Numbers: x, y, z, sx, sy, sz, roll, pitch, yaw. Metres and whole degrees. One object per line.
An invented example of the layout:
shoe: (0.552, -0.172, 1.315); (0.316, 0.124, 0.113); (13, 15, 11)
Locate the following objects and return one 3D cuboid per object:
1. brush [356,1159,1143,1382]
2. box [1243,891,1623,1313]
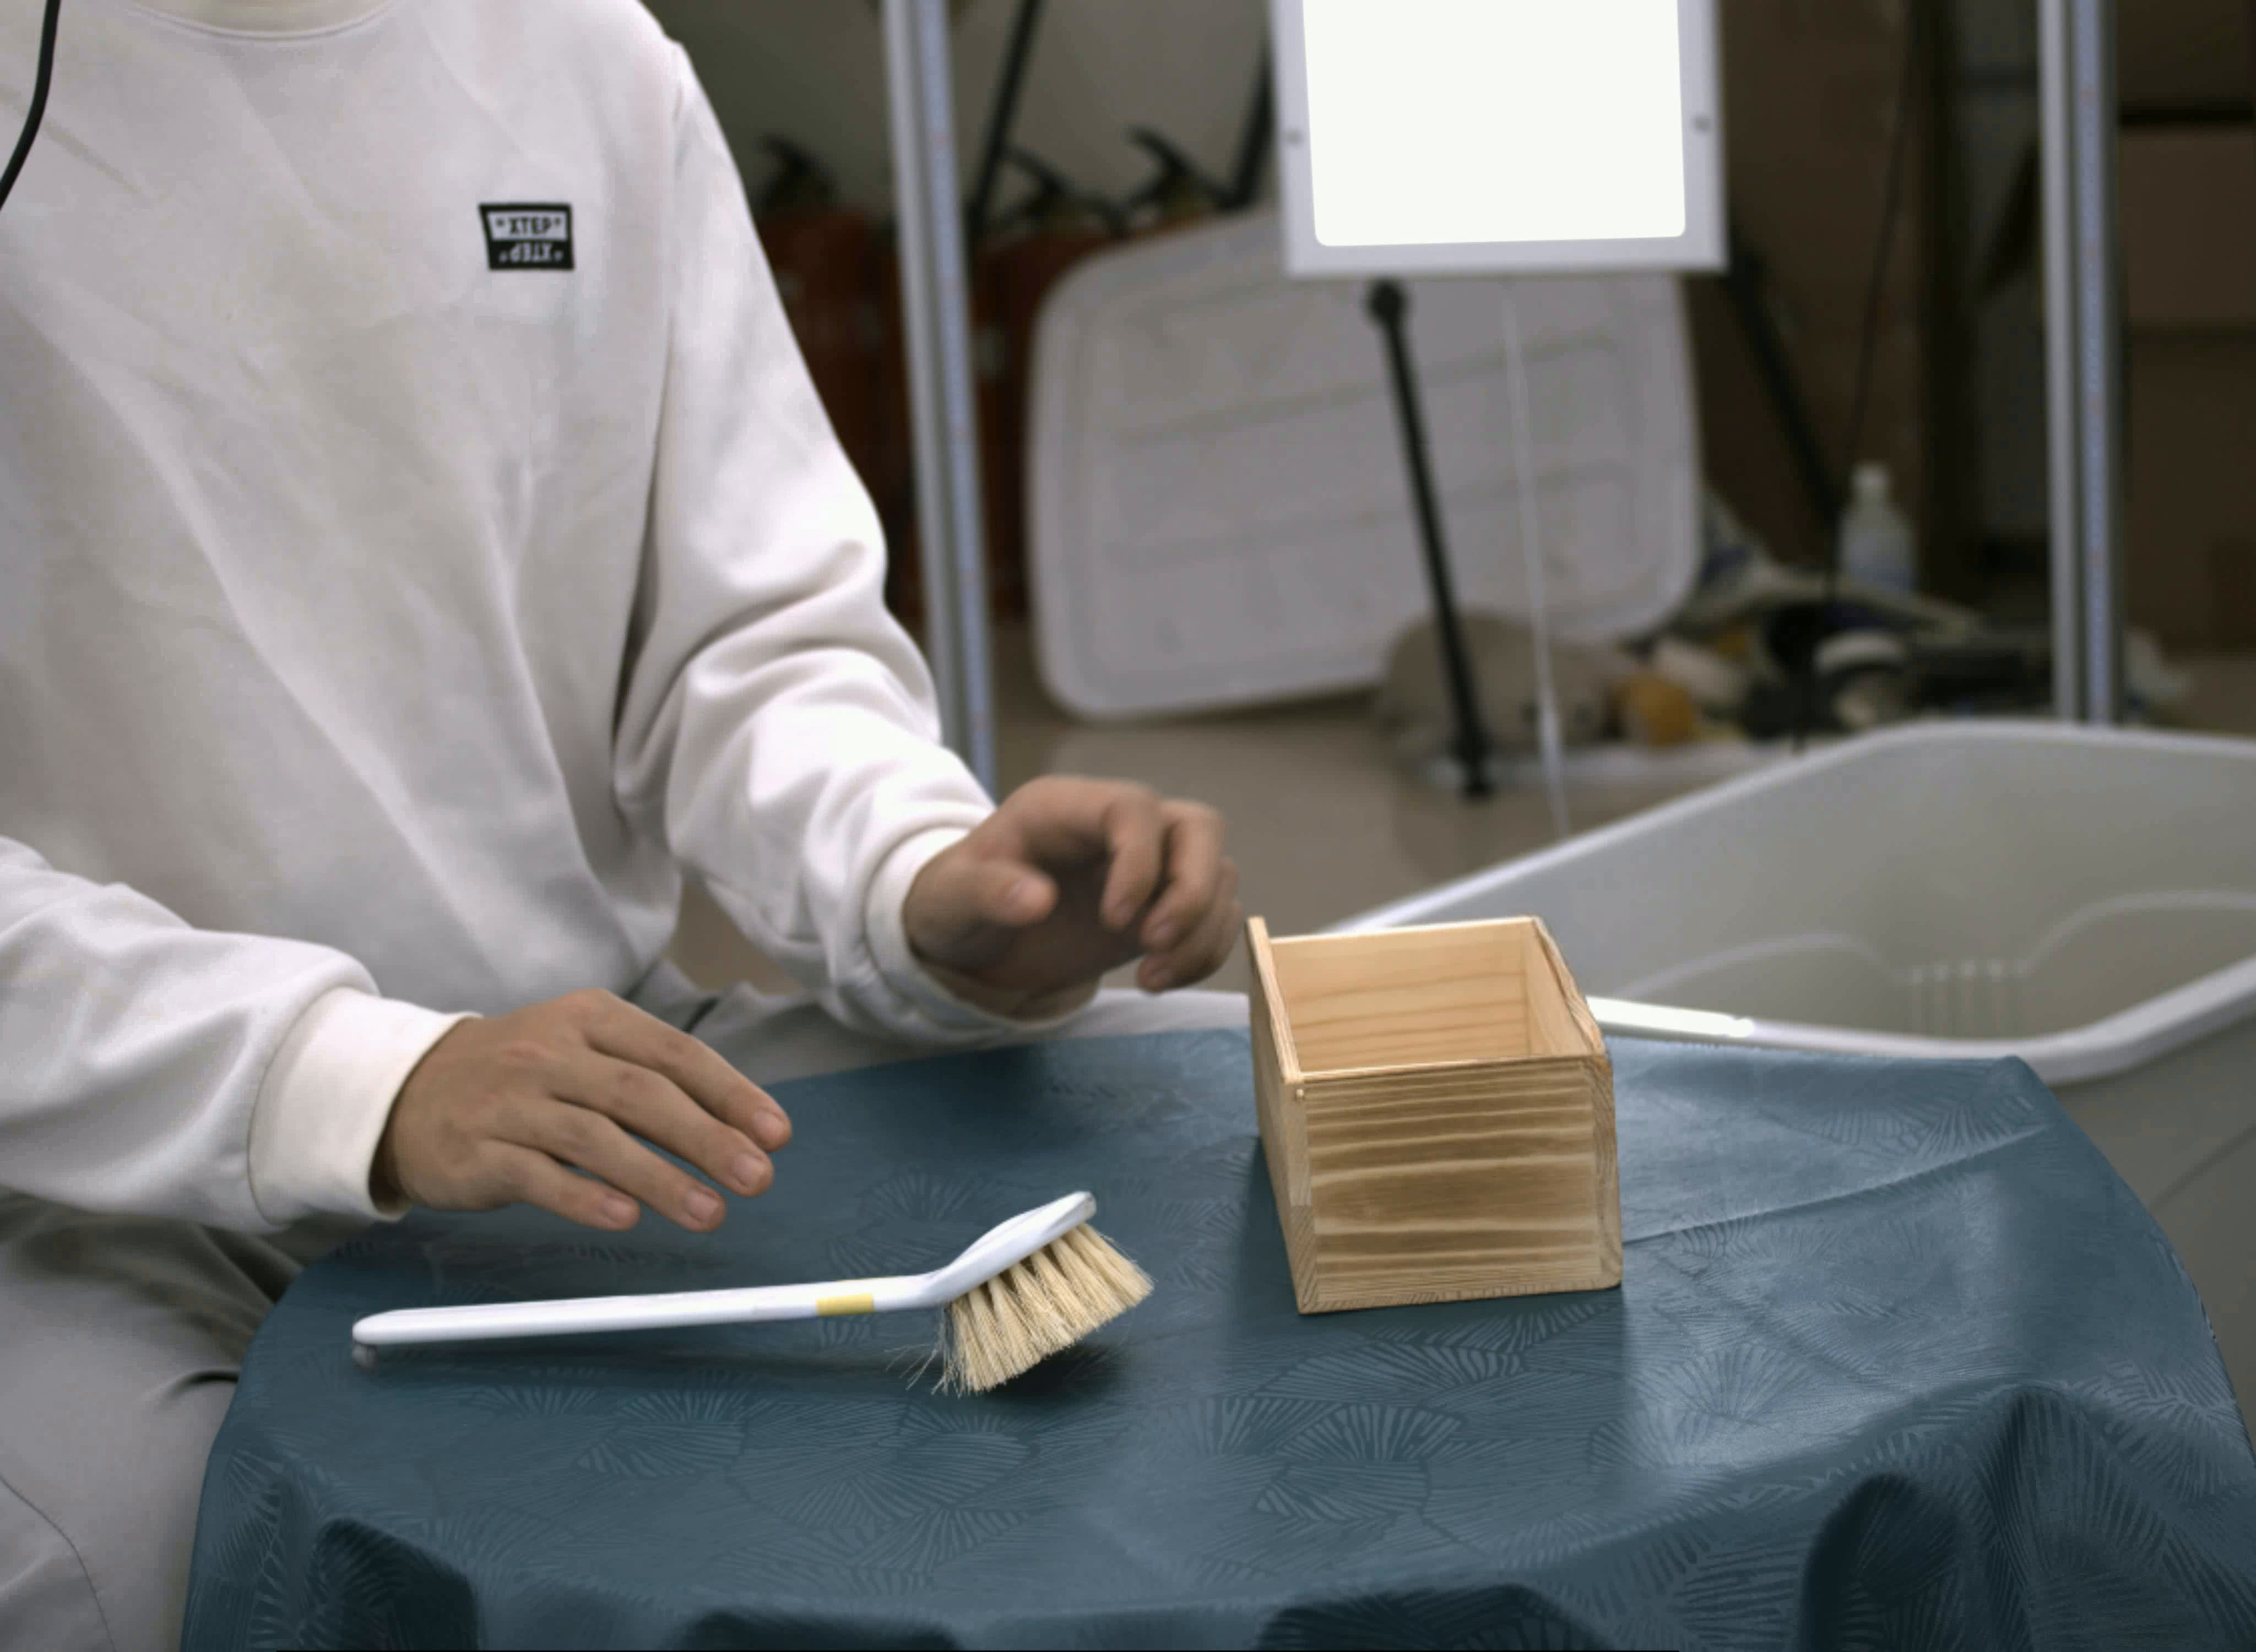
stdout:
brush: (-0.120, 0.165, 1.755); (0.270, 0.056, 0.067); (-16, -10, 18)
box: (0.100, 0.089, 1.845); (0.107, 0.080, 0.211); (-6, 13, 0)
